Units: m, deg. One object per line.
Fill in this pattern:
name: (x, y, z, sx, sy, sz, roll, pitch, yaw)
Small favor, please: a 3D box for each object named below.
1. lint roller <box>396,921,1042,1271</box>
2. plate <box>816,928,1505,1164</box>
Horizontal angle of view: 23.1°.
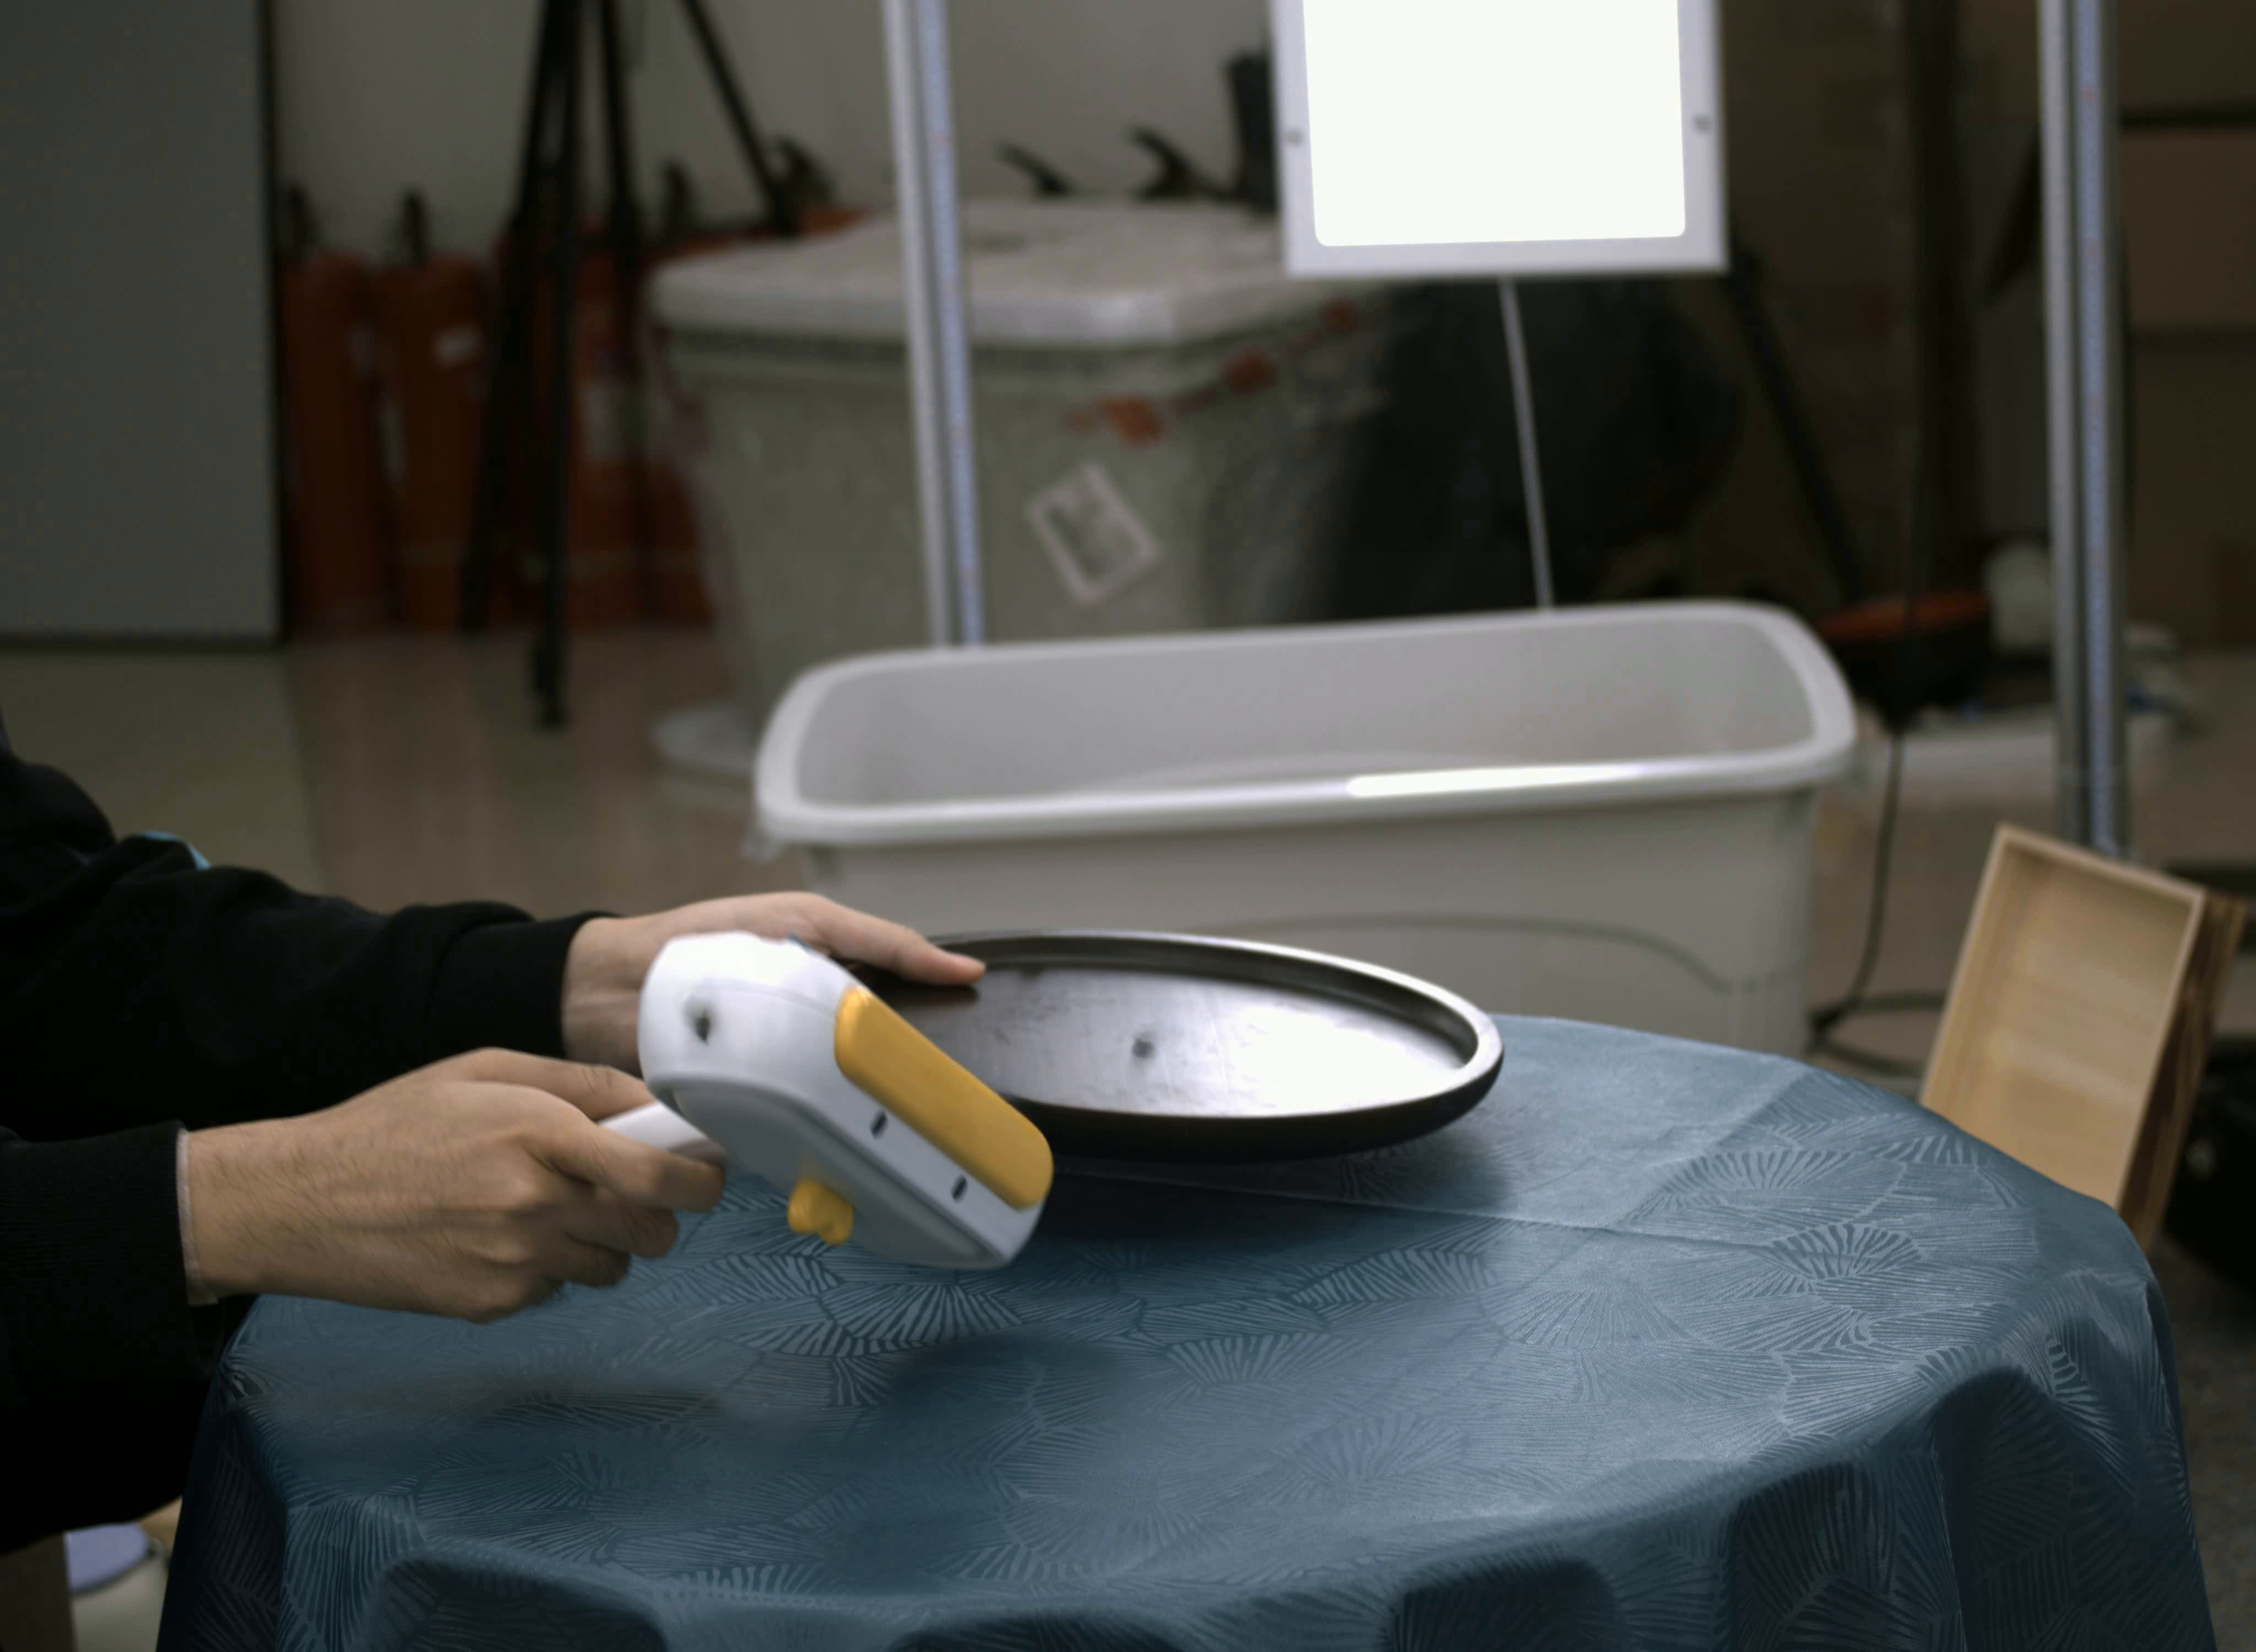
lint roller: (-0.143, 0.097, 1.716, 0.196, 0.074, 0.189, -10, -24, 28)
plate: (0.006, 0.075, 1.930, 0.254, 0.029, 0.254, 1, 12, -2)
